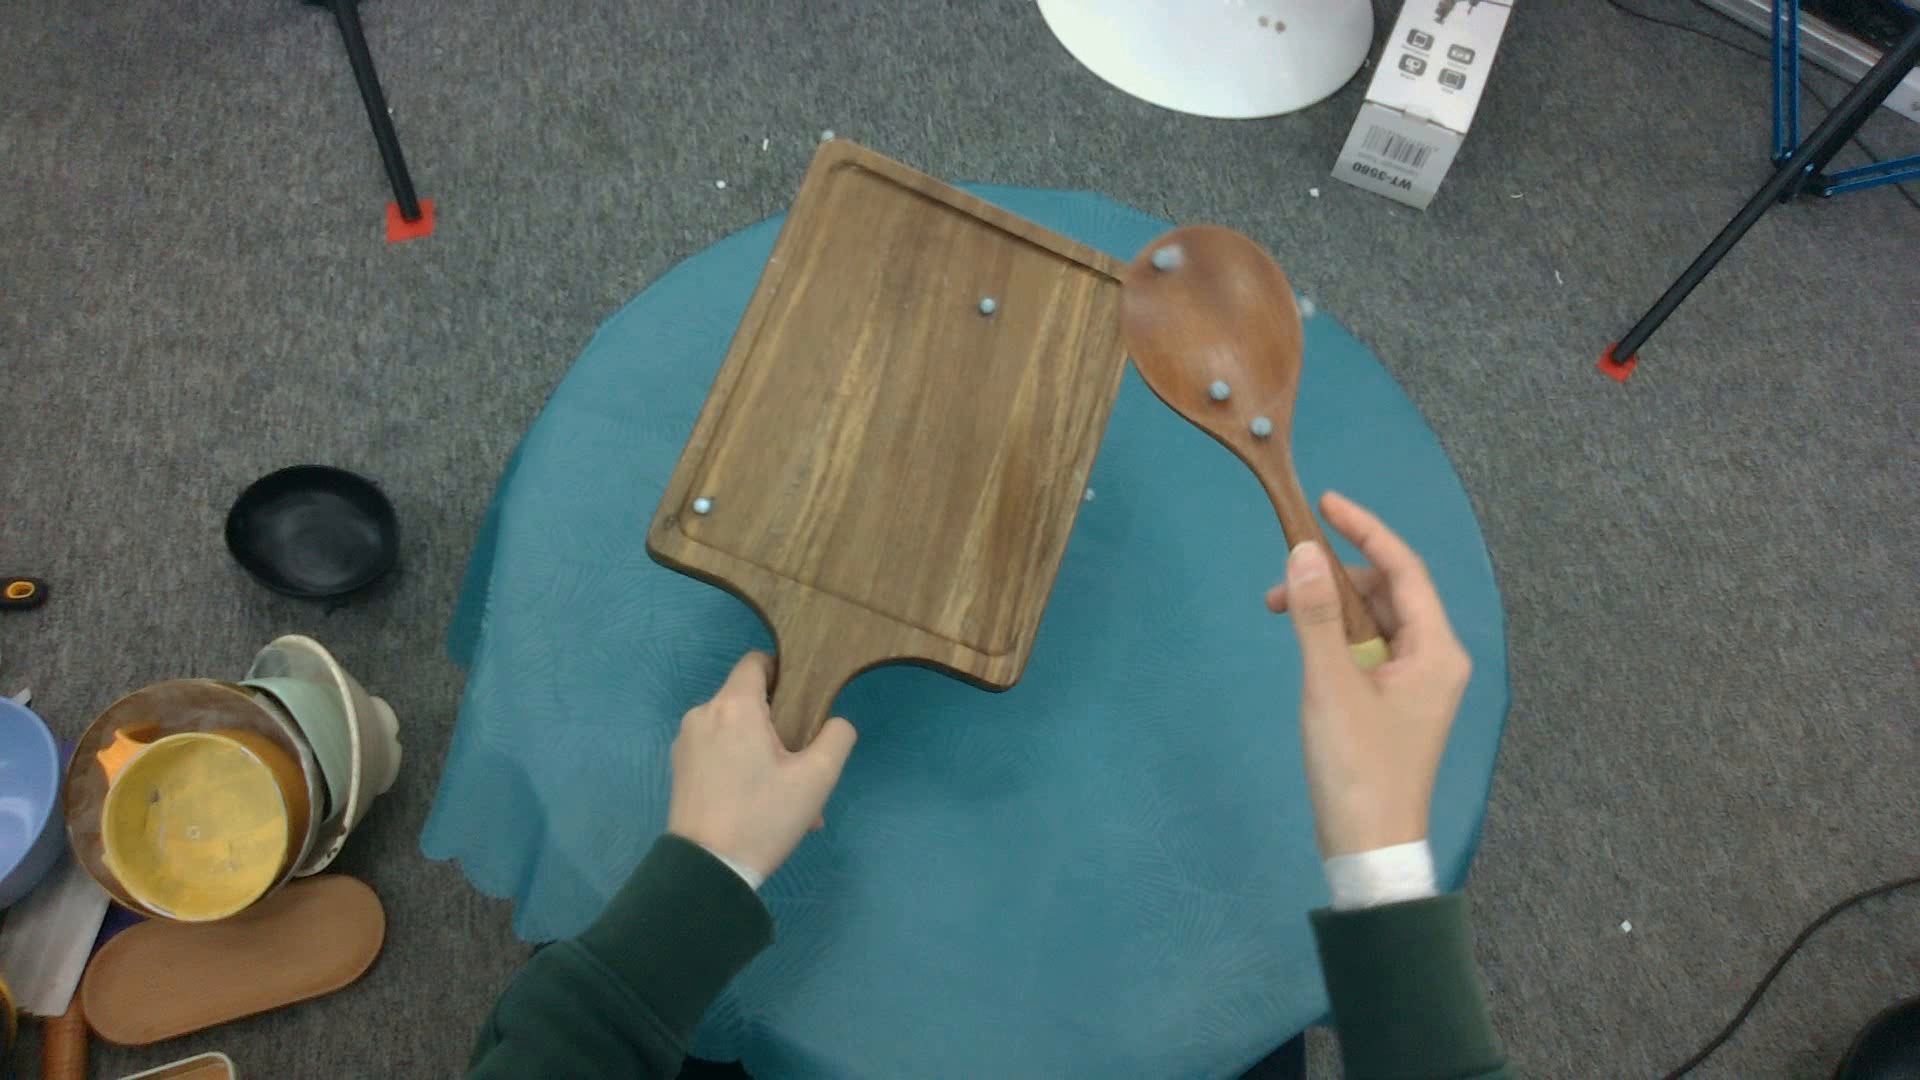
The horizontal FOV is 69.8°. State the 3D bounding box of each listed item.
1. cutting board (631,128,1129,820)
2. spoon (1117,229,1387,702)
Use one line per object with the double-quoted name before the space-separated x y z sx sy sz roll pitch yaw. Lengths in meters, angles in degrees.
"cutting board" -0.047 -0.031 0.695 0.201 0.023 0.353 22 70 -9
"spoon" 0.127 -0.035 0.577 0.075 0.017 0.216 -18 72 -3
